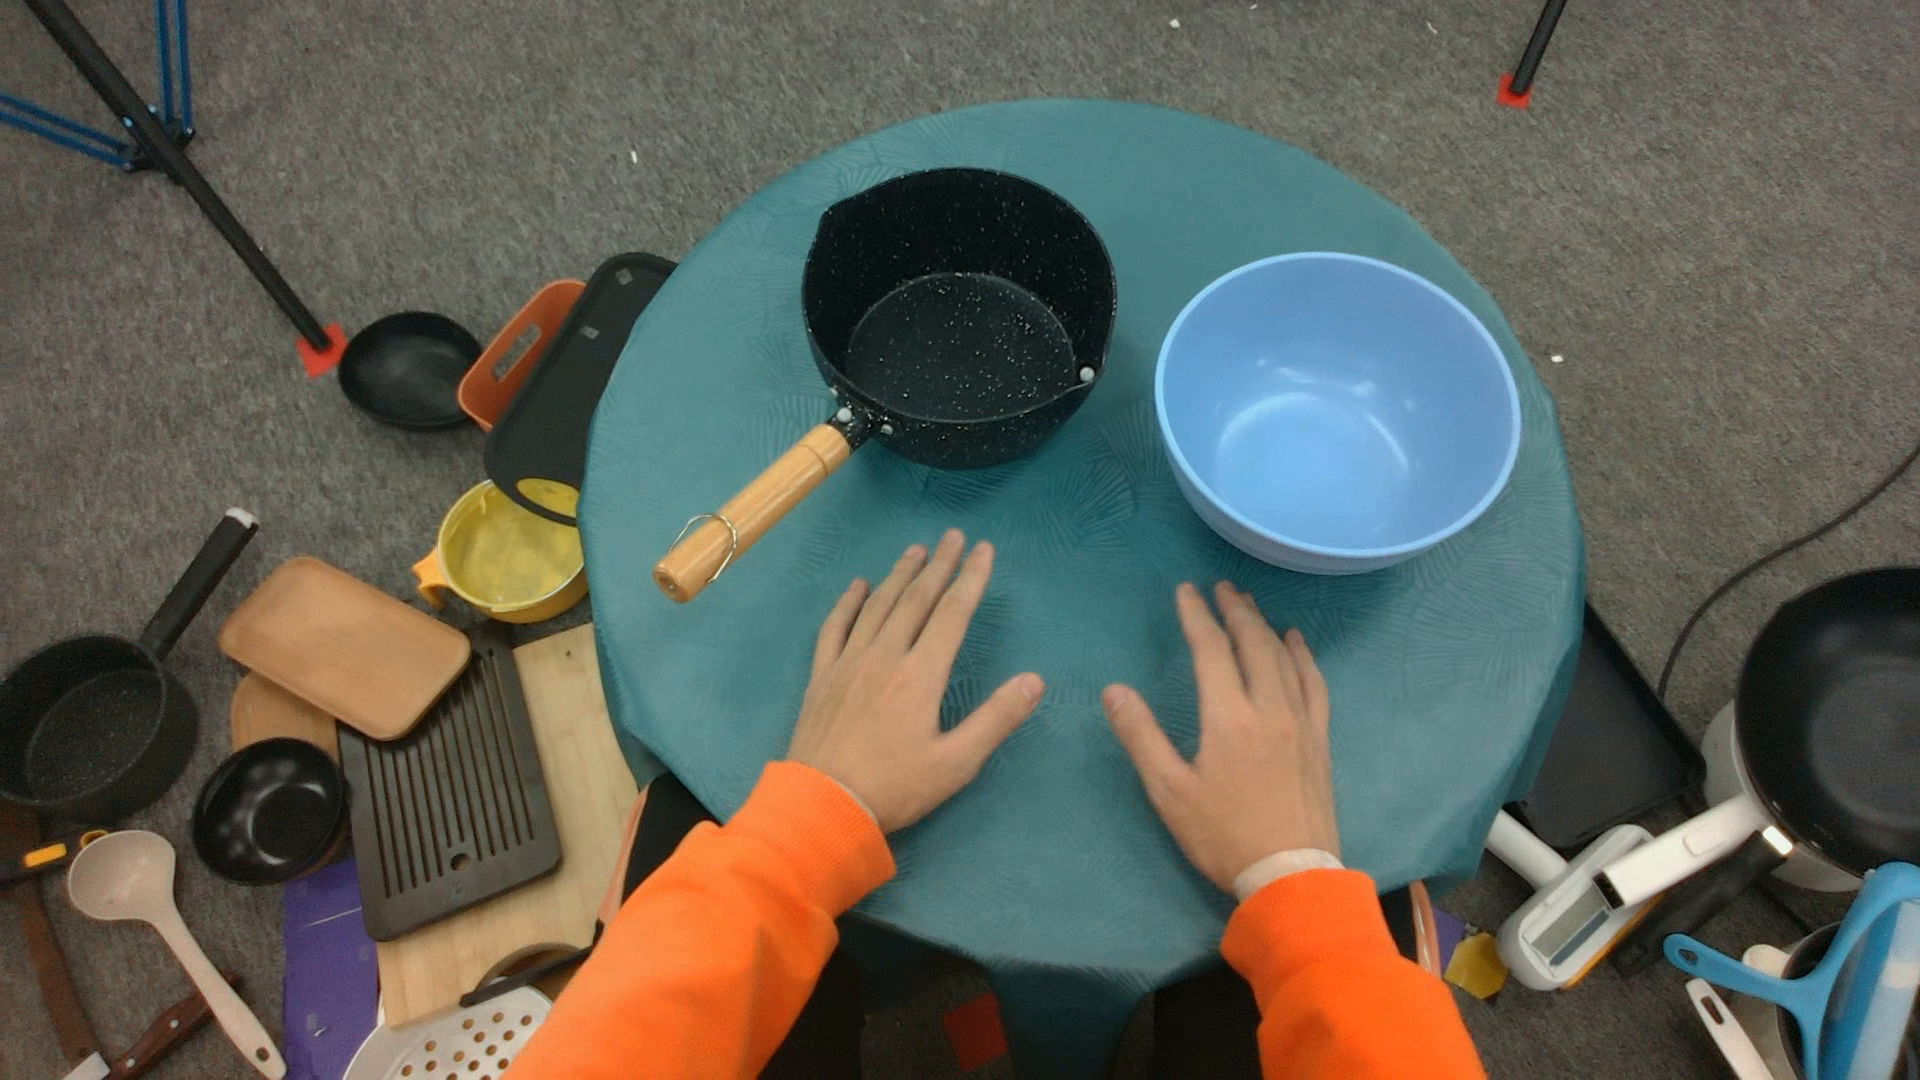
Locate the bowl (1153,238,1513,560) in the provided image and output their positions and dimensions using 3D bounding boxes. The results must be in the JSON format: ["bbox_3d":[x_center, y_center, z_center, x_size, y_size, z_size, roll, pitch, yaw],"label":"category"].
[{"bbox_3d":[0.202,-0.067,0.792,0.196,0.095,0.197,1,63,-1],"label":"bowl"}]

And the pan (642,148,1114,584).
[{"bbox_3d":[-0.050,-0.084,0.792,0.207,0.108,0.344,33,66,14],"label":"pan"}]
